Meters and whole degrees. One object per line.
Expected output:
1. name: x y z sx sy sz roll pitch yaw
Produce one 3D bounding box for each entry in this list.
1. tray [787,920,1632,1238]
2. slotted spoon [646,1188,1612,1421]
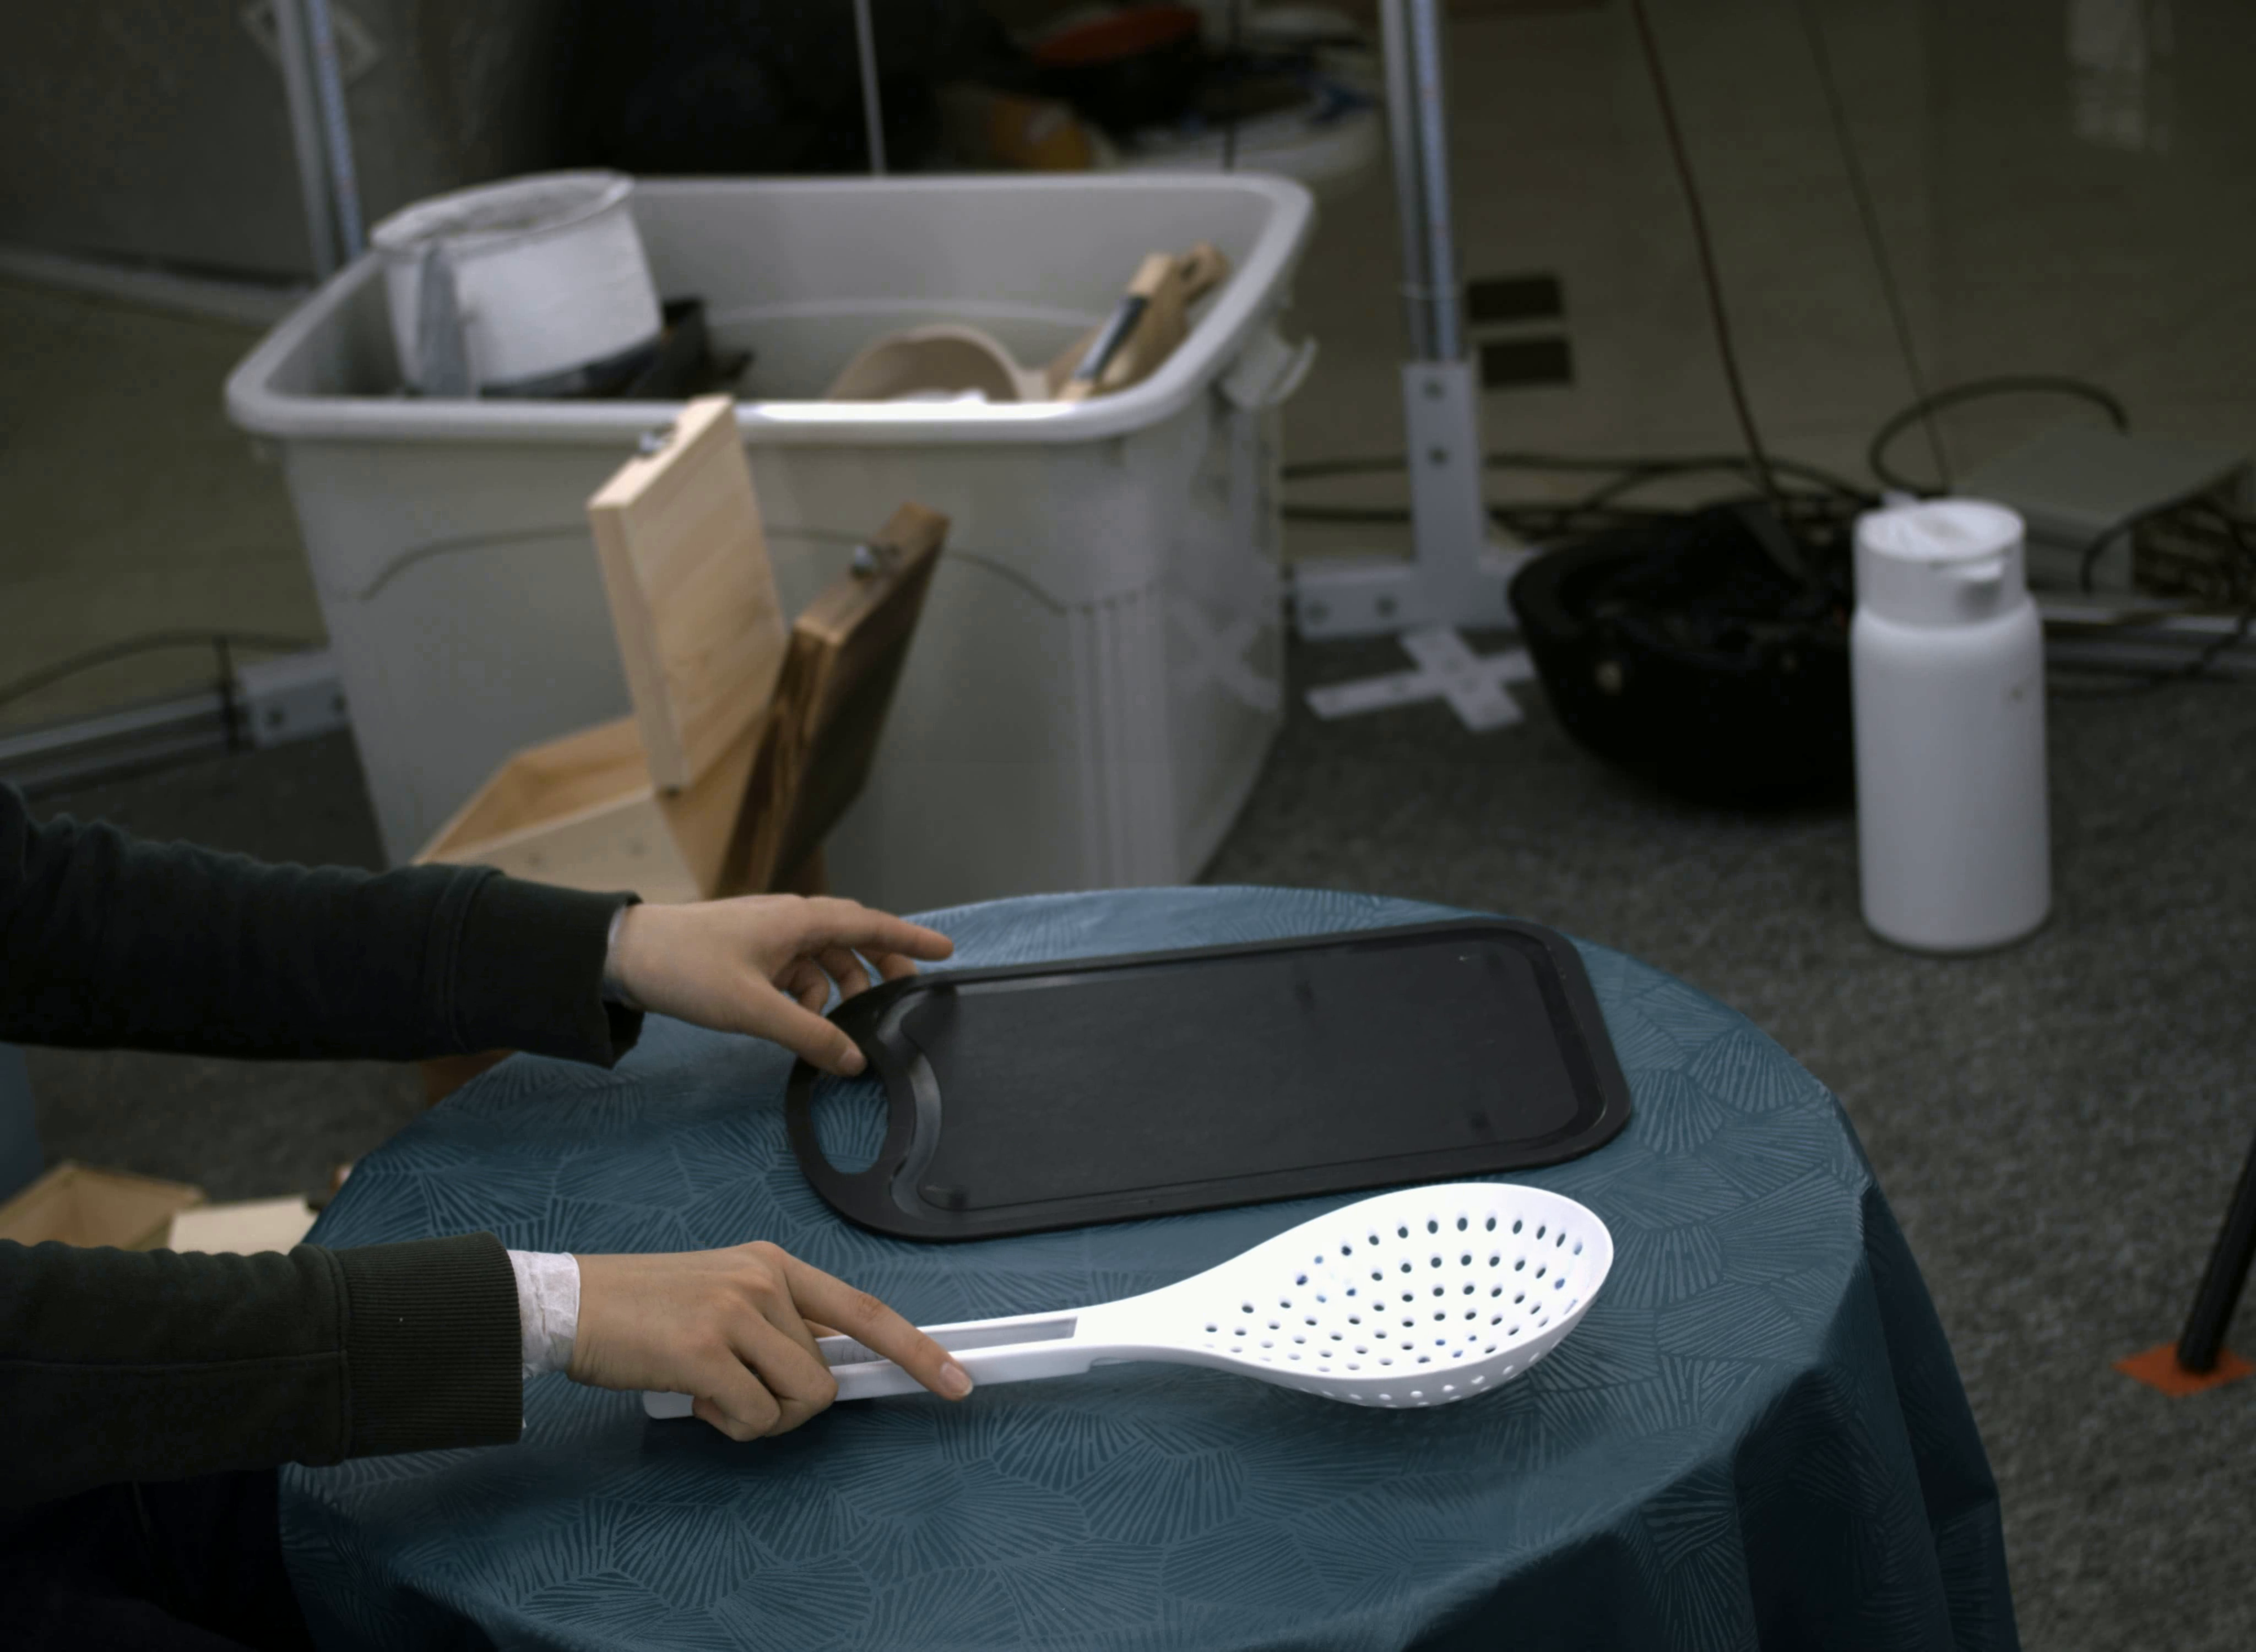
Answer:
1. tray: 0.028 0.097 2.222 0.325 0.010 0.208 -7 26 -2
2. slotted spoon: -0.002 0.180 2.011 0.349 0.046 0.134 -4 23 8
